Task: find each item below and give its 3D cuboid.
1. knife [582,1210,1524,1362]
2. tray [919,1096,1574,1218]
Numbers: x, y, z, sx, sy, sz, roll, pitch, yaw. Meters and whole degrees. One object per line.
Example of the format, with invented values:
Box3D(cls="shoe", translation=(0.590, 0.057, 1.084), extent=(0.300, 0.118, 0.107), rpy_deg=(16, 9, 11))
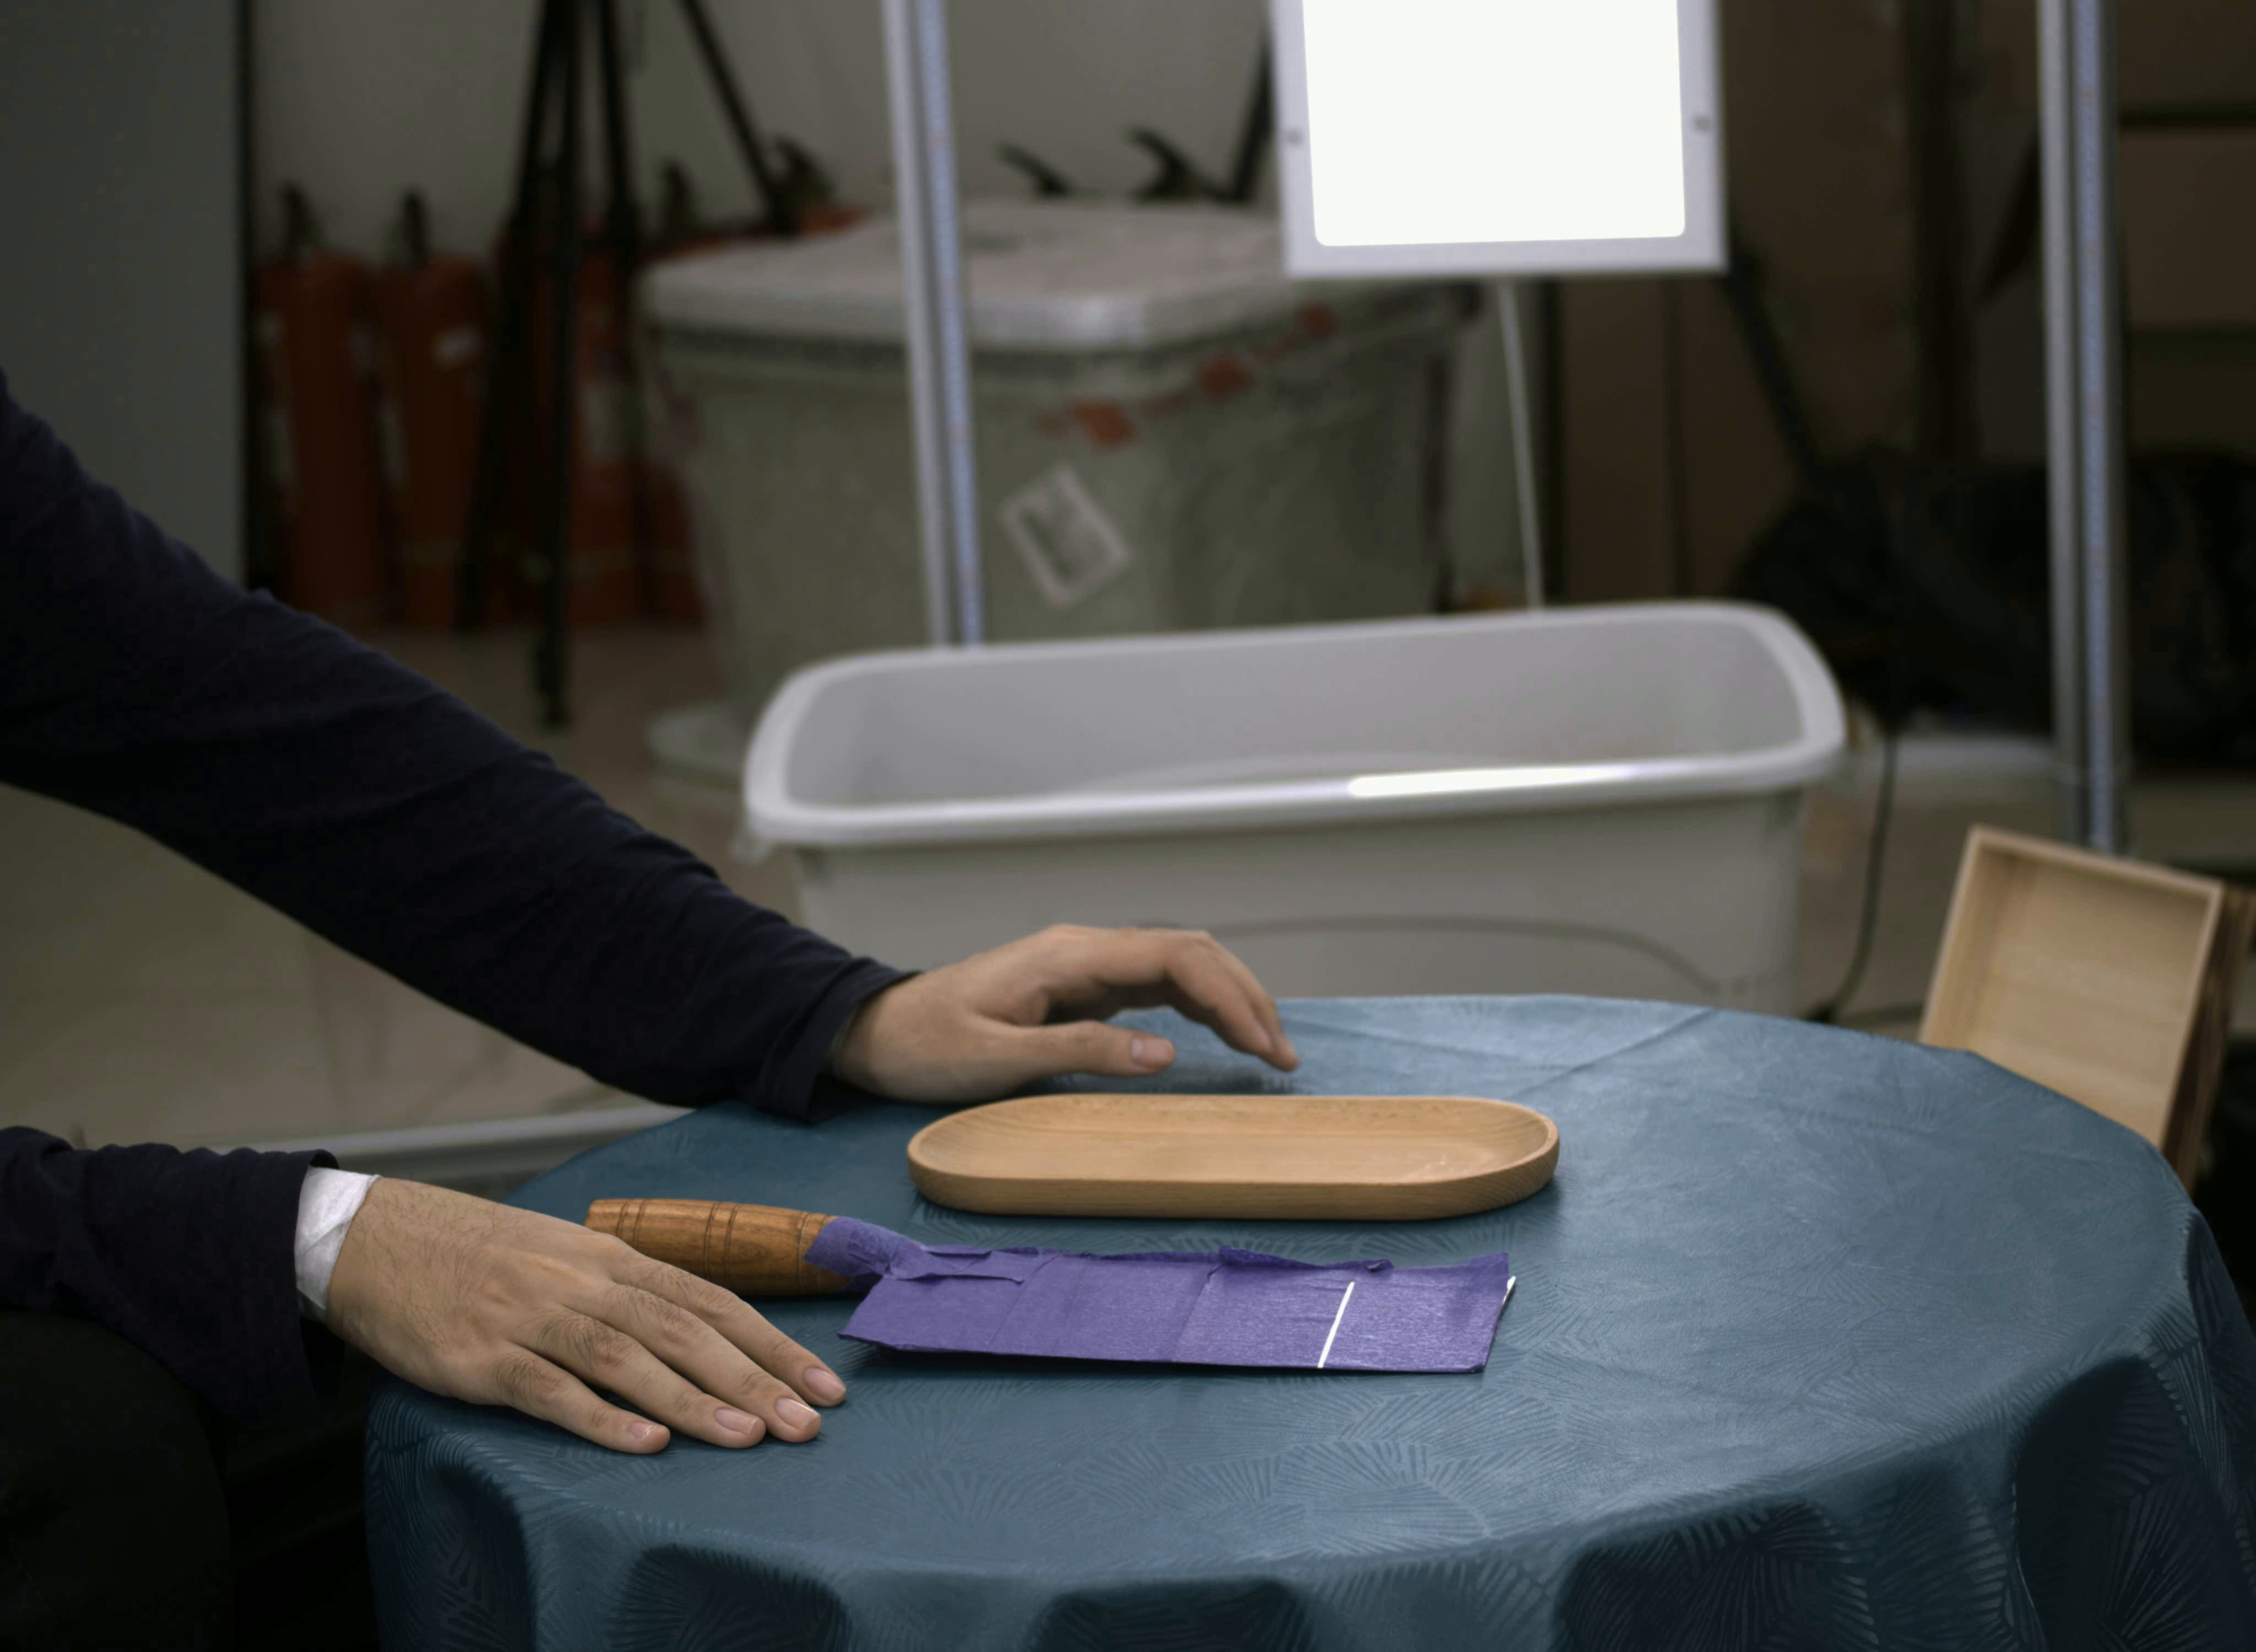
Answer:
Box3D(cls="knife", translation=(-0.032, 0.148, 1.770), extent=(0.318, 0.032, 0.102), rpy_deg=(-1, 14, 15))
Box3D(cls="tray", translation=(0.040, 0.115, 1.904), extent=(0.233, 0.020, 0.100), rpy_deg=(0, 15, 17))
